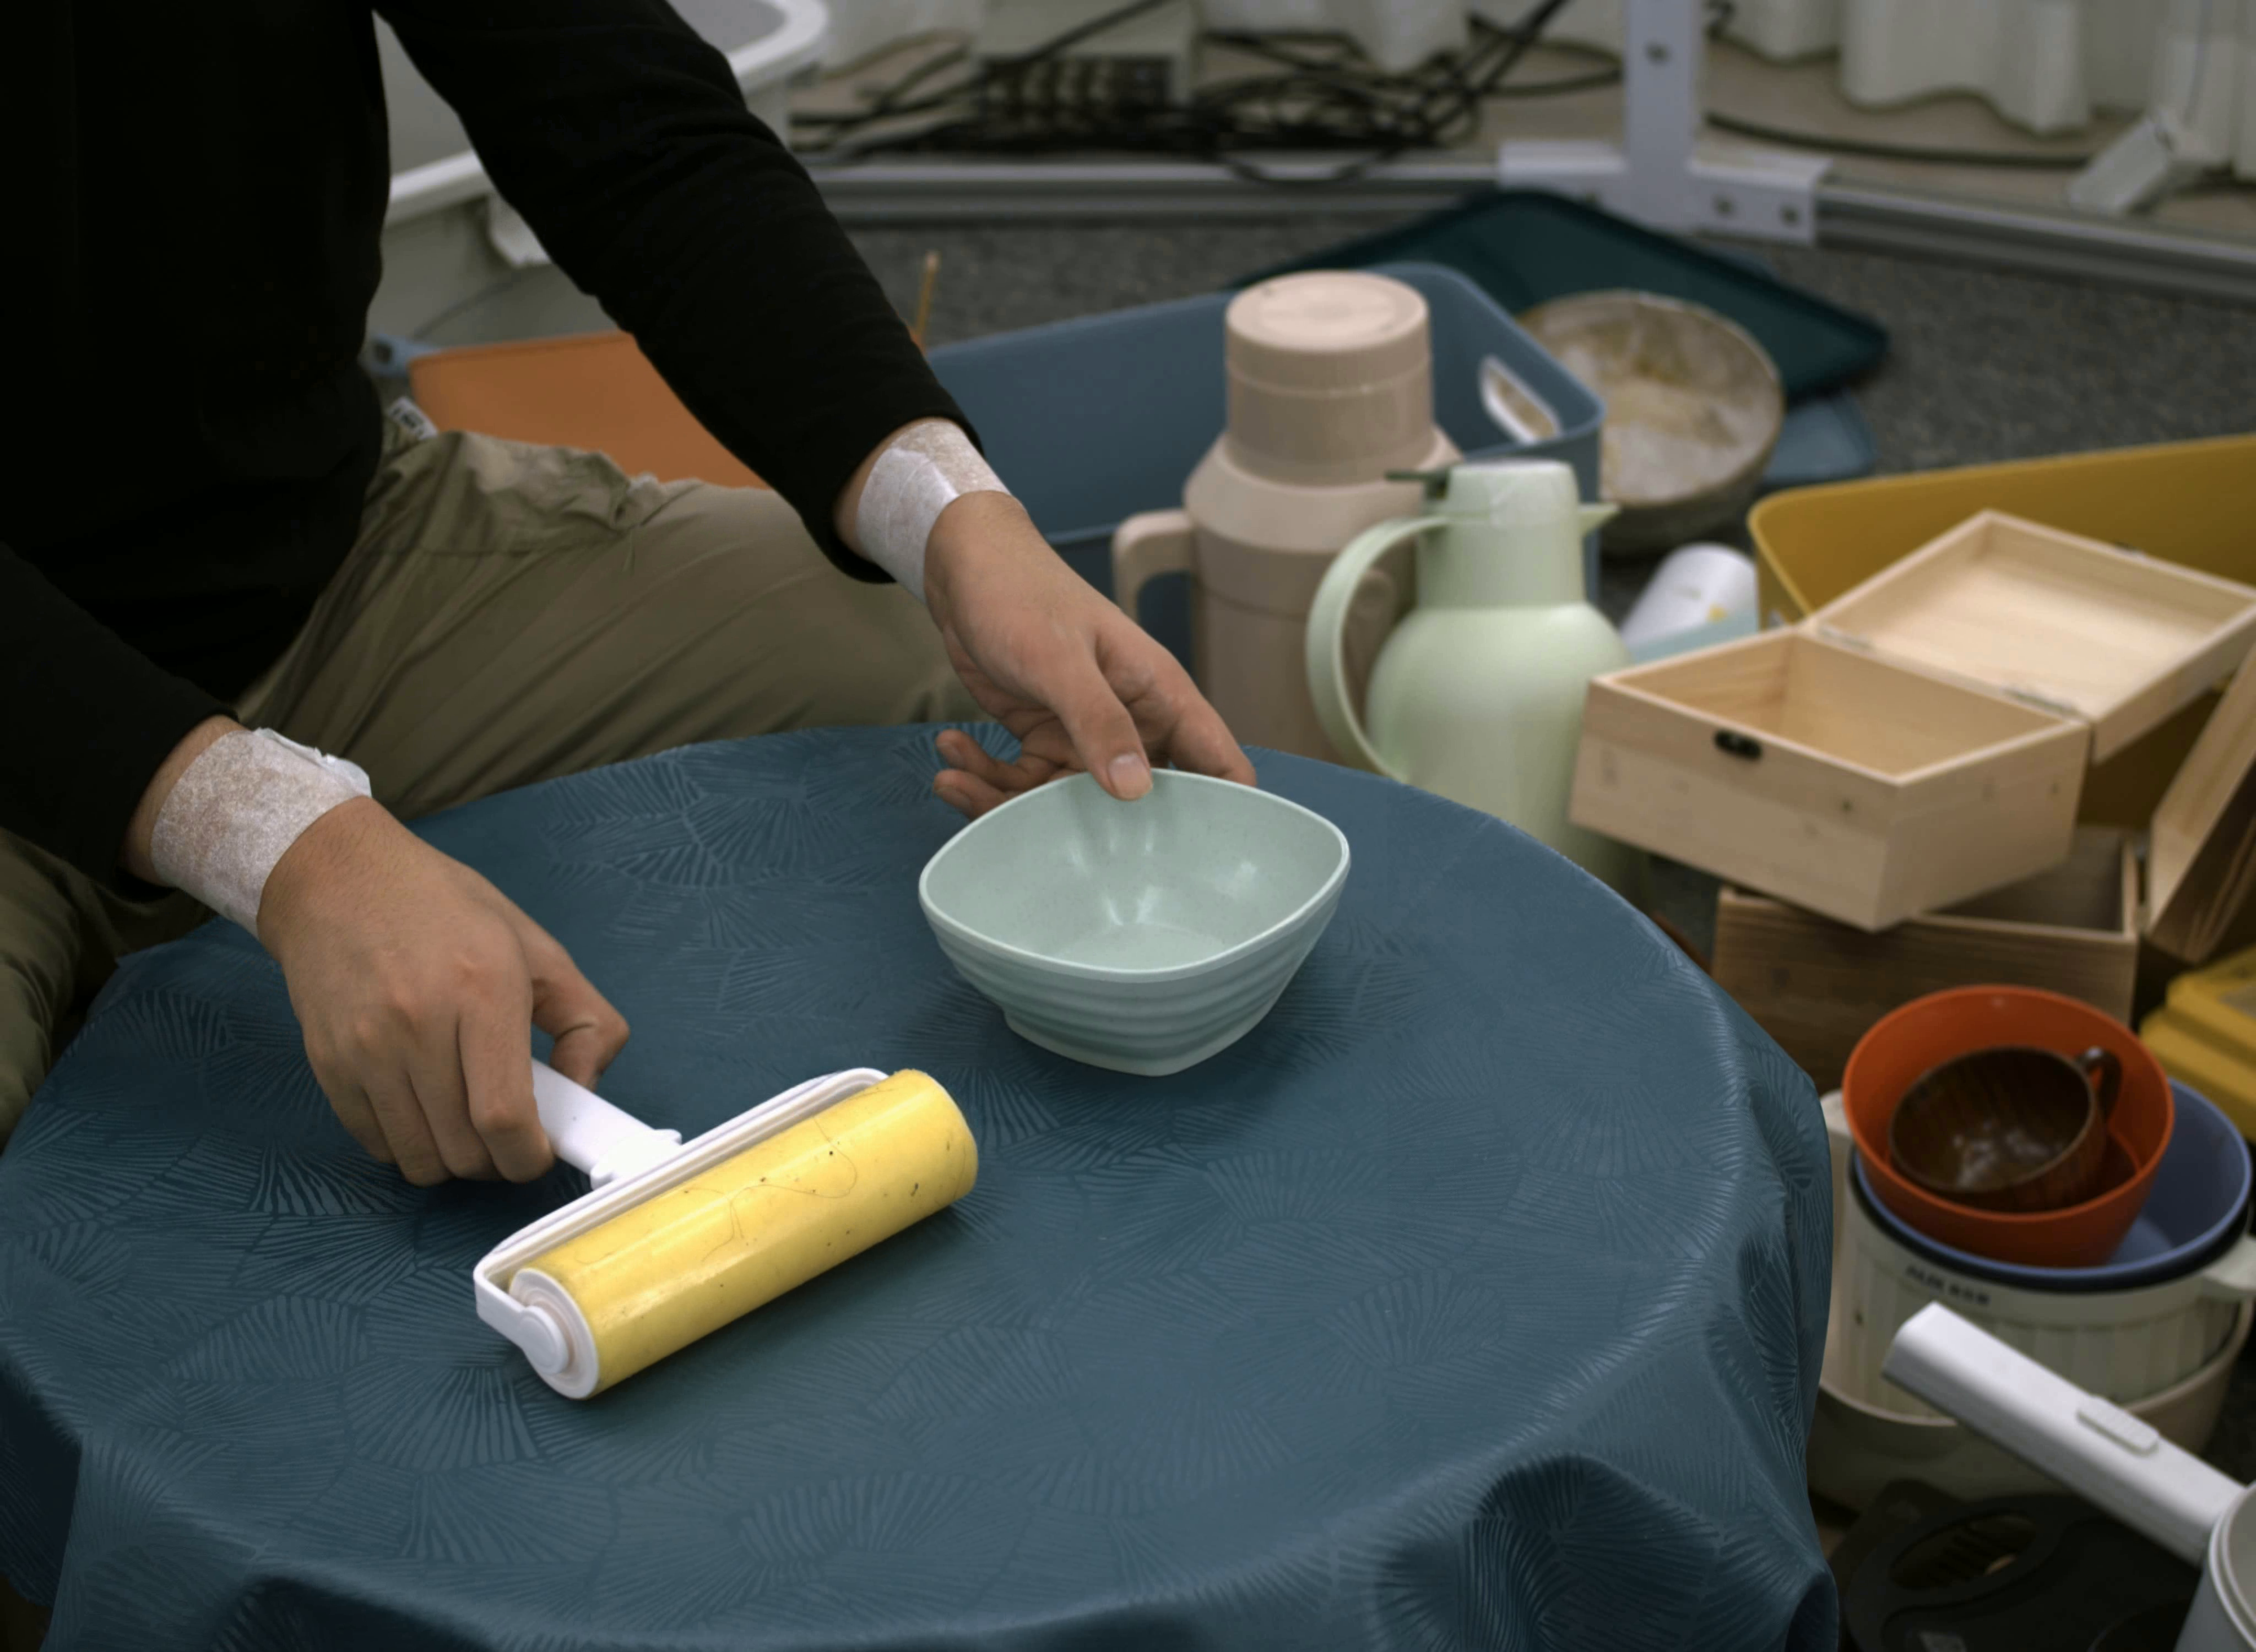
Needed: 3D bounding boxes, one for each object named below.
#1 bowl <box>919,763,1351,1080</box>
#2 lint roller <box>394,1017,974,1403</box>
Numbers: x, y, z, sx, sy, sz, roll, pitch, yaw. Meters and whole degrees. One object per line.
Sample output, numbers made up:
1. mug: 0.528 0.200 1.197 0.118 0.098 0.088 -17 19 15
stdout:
1. bowl: 0.003 0.039 1.959 0.151 0.058 0.154 -1 29 1
2. lint roller: -0.174 0.099 1.844 0.192 0.050 0.176 34 43 31
